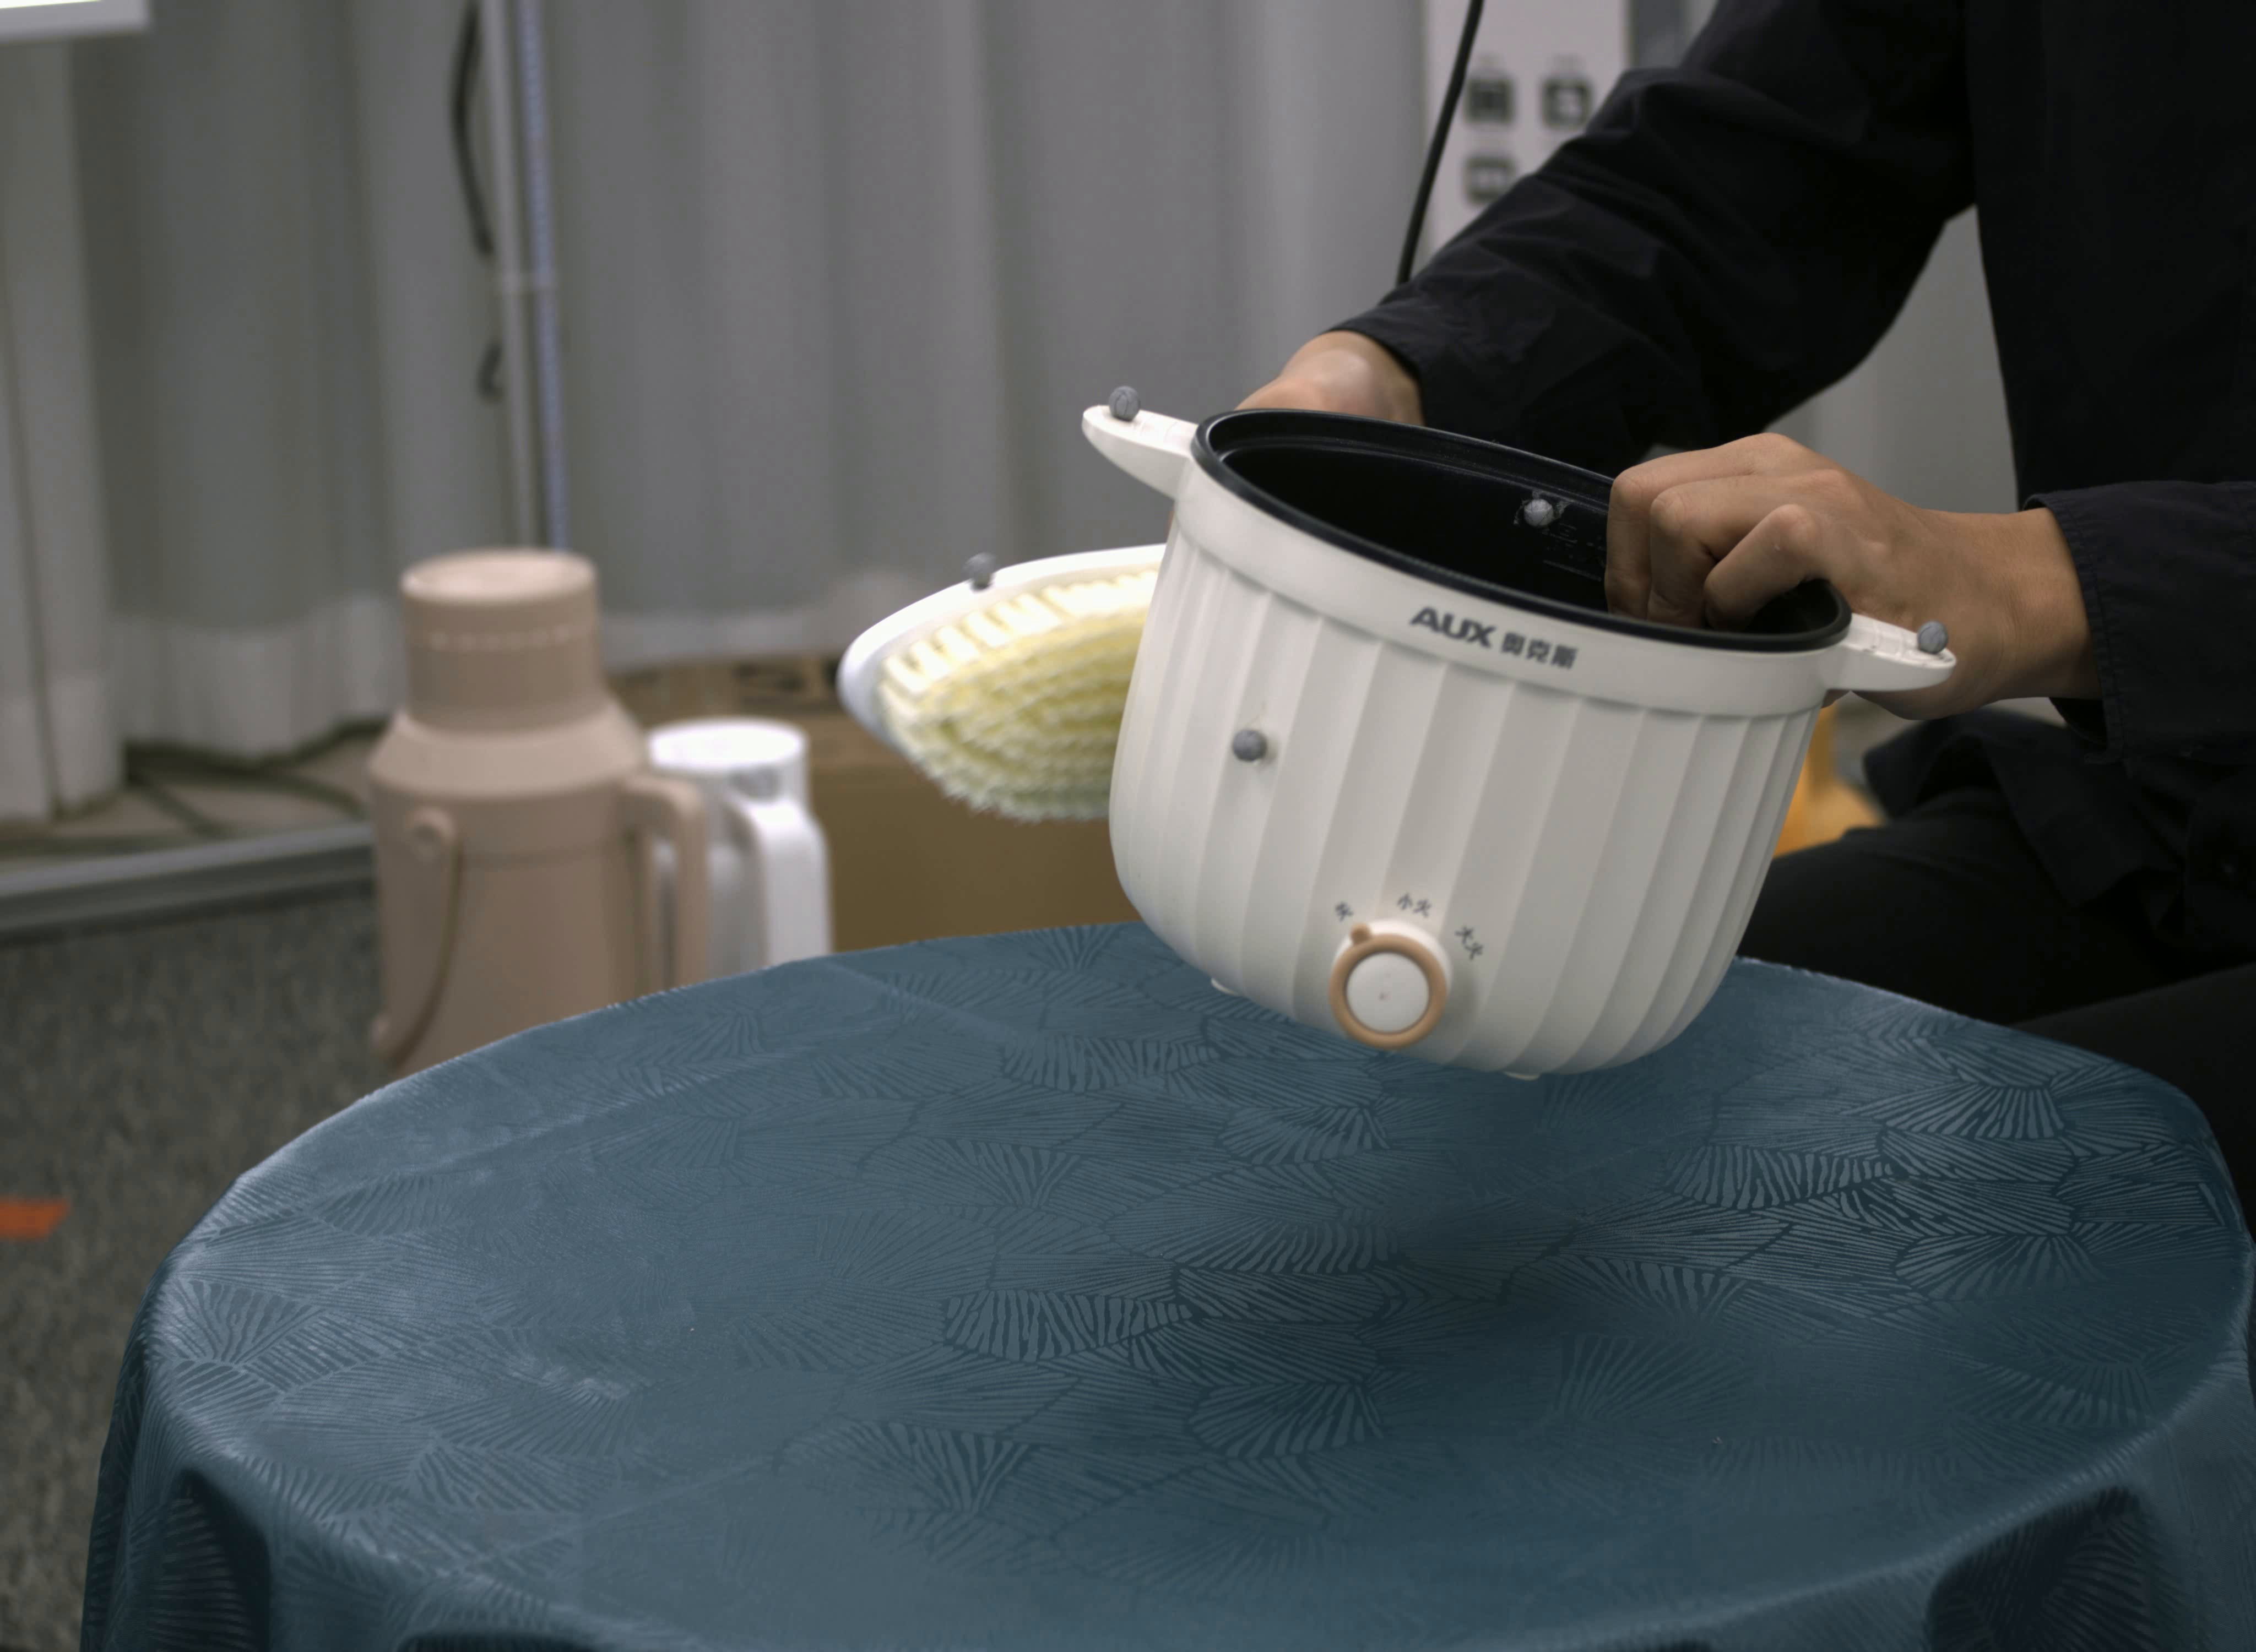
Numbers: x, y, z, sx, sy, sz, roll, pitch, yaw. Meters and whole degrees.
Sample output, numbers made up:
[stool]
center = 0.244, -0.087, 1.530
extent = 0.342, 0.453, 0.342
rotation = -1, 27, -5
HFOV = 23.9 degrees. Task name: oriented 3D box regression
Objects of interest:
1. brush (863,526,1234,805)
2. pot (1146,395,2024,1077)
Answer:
[brush]
center = 0.057, -0.064, 1.554
extent = 0.318, 0.085, 0.084
rotation = -15, -22, -47
[pot]
center = 0.105, -0.019, 1.406
extent = 0.240, 0.143, 0.190
rotation = 15, 13, 4
